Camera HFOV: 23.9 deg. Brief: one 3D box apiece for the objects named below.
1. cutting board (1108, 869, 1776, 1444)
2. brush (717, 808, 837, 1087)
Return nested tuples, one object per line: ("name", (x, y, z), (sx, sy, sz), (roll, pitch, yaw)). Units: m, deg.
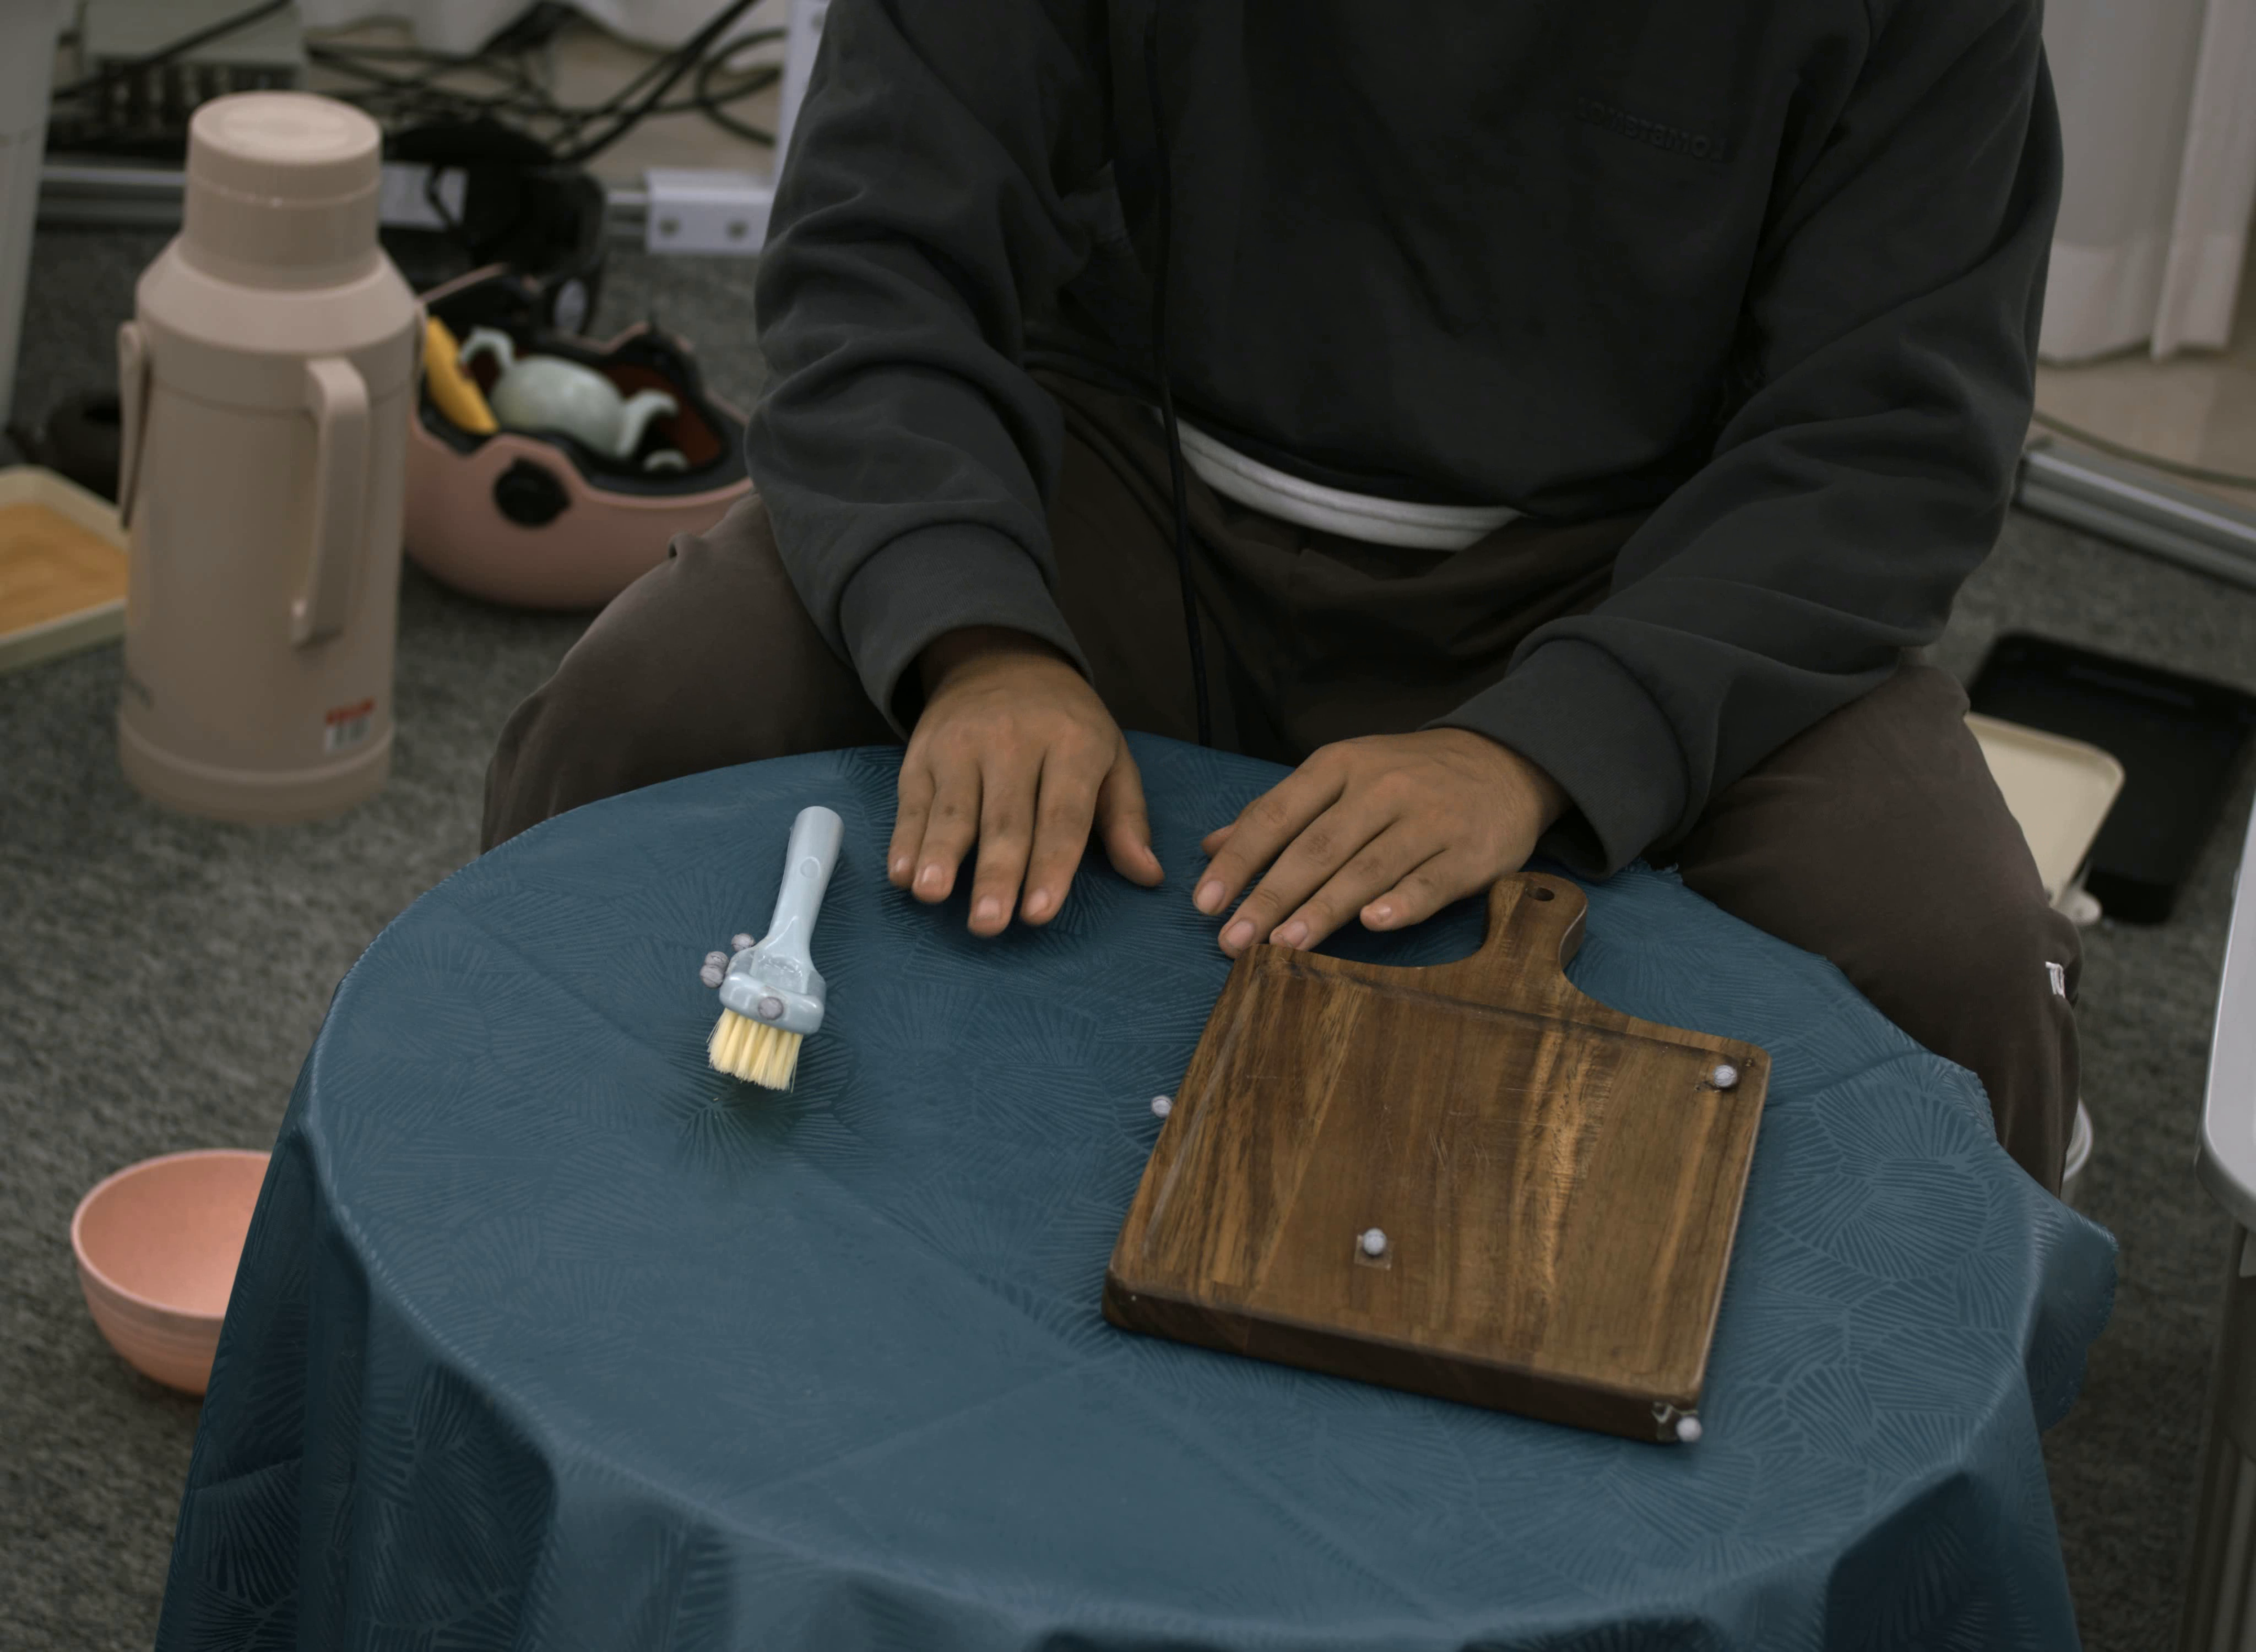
("cutting board", (0.123, 0.099, 1.861), (0.201, 0.023, 0.353), (11, 27, 8))
("brush", (-0.124, 0.042, 1.902), (0.037, 0.049, 0.230), (18, 18, -6))
